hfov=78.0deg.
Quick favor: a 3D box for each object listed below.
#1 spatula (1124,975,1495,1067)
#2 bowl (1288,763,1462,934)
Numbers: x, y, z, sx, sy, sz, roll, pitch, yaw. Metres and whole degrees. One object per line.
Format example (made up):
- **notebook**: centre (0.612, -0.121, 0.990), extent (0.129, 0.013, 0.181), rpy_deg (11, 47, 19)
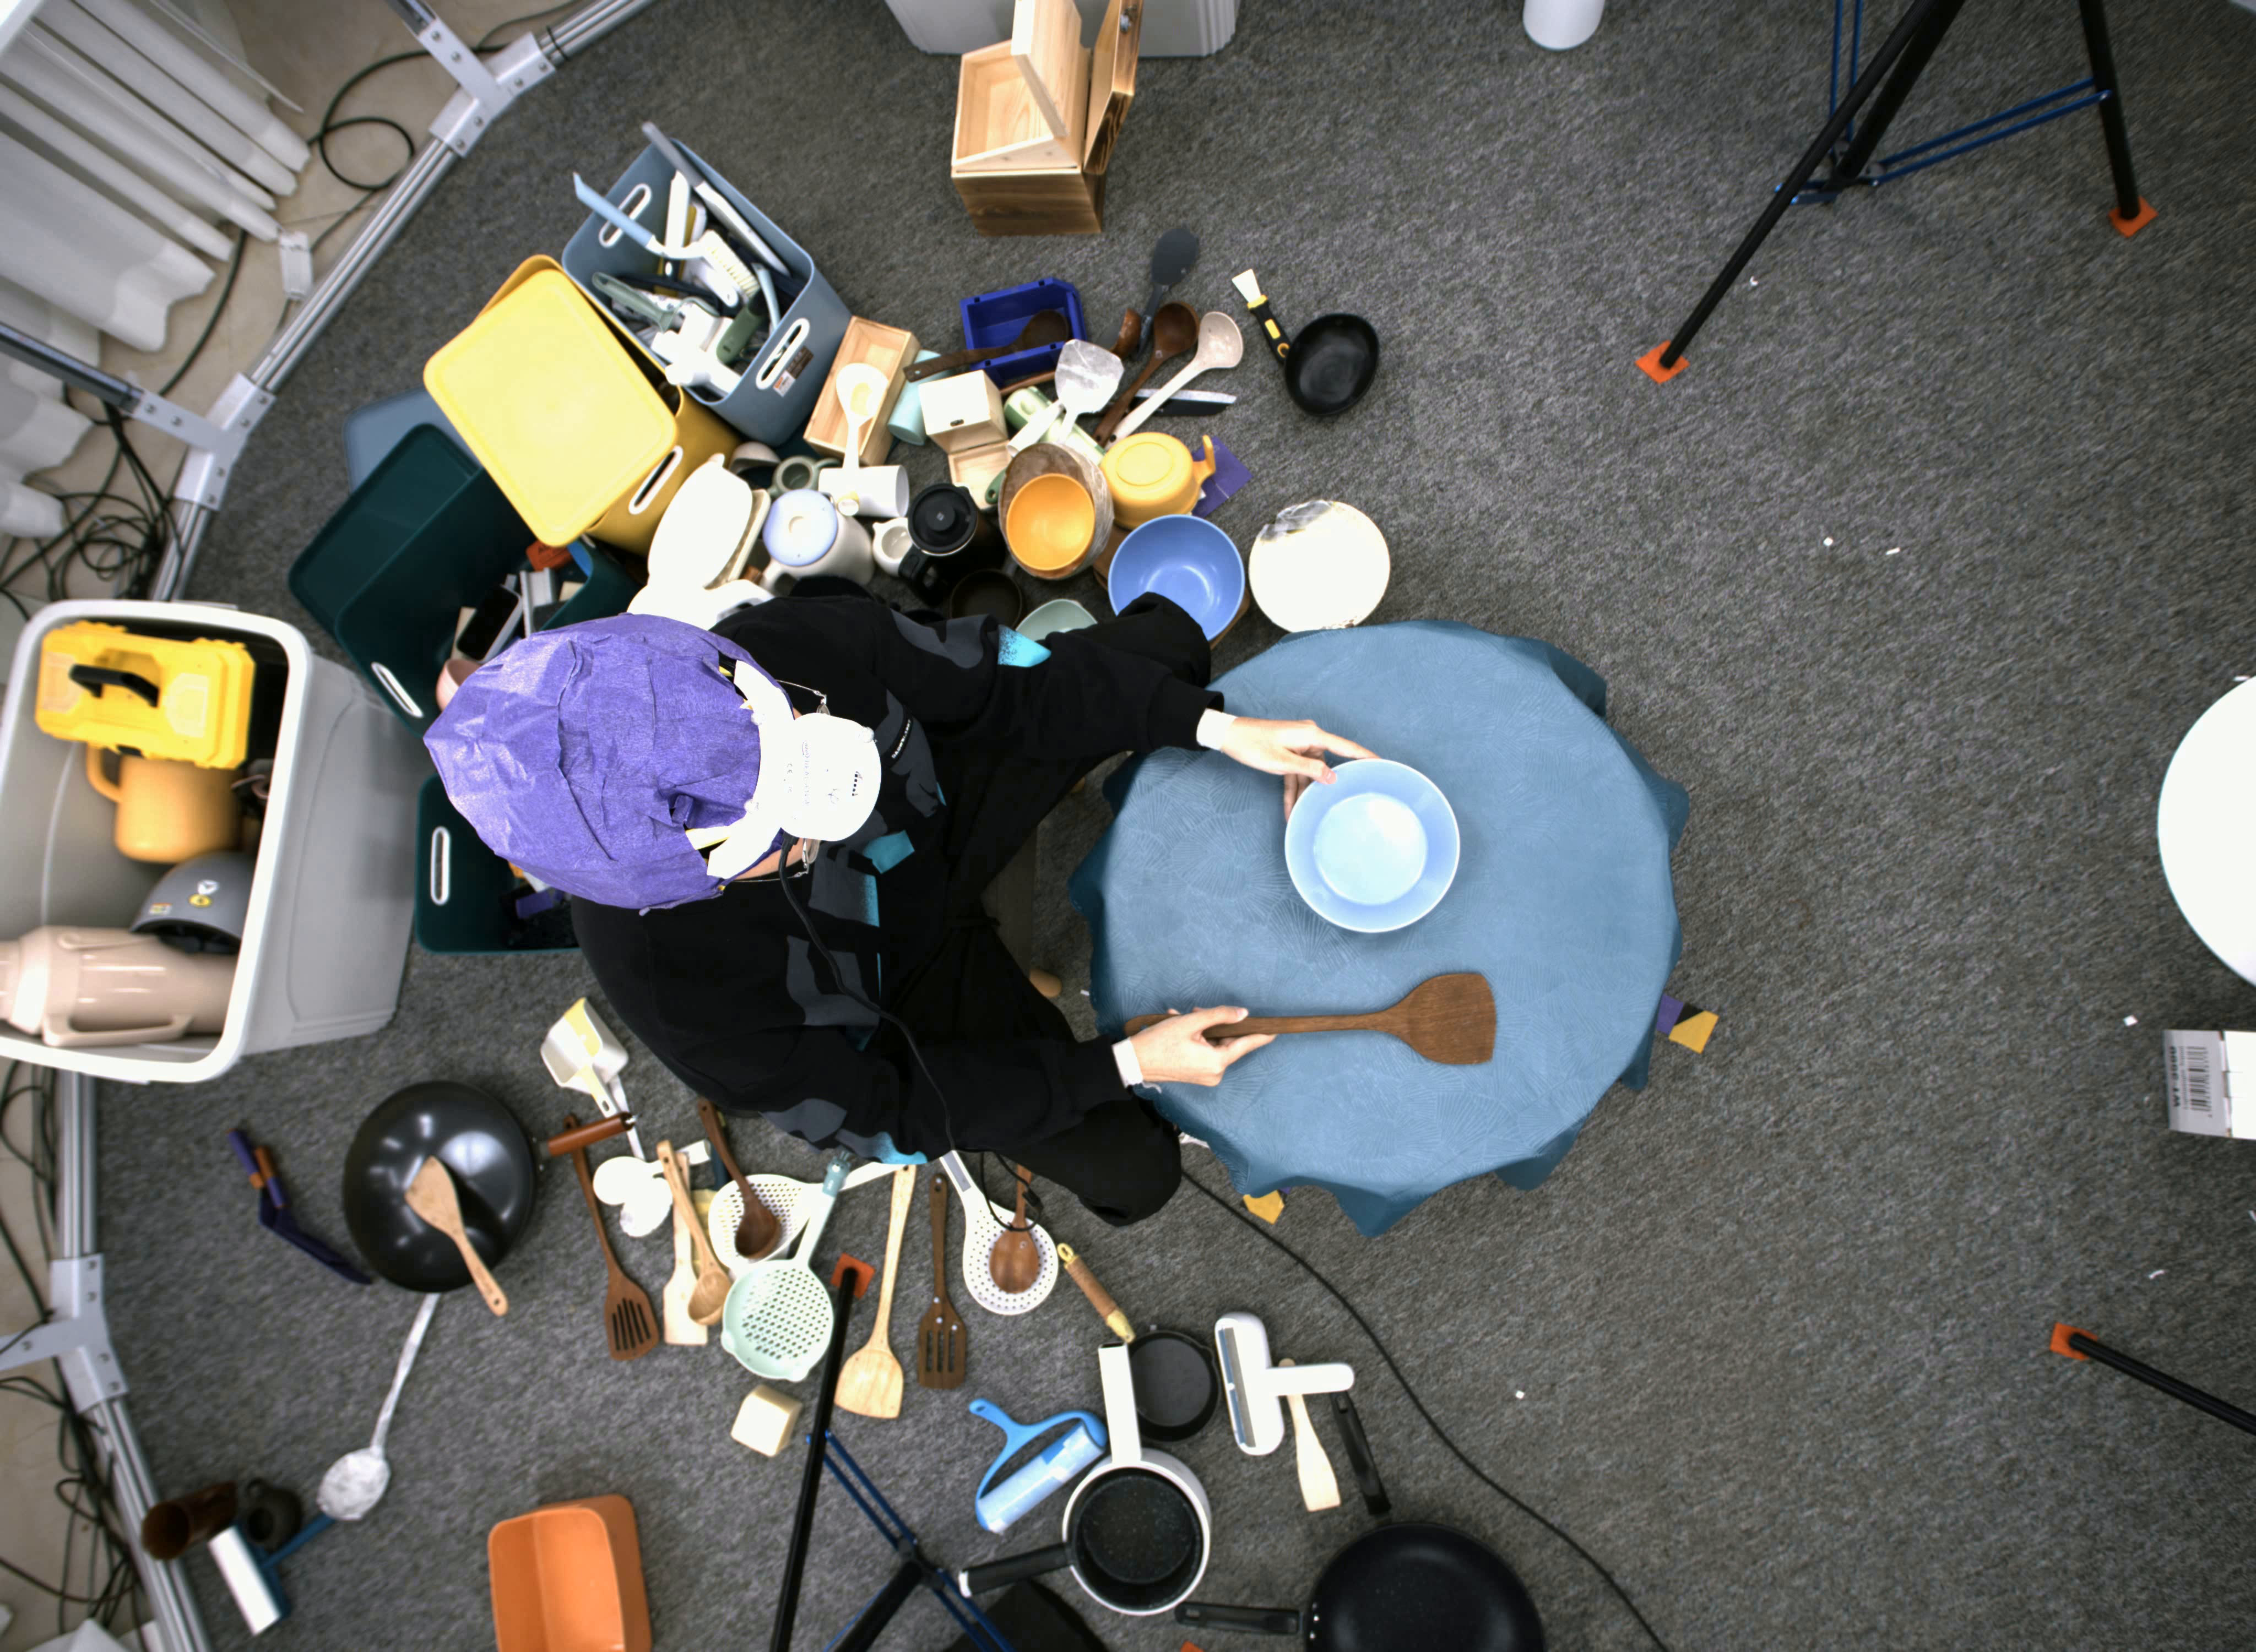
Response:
- **spatula**: centre (0.189, 0.207, 1.437), extent (0.386, 0.016, 0.095), rpy_deg (-2, 86, 0)
- **bowl**: centre (0.256, 0.024, 1.434), extent (0.177, 0.070, 0.175), rpy_deg (-1, 86, 10)
